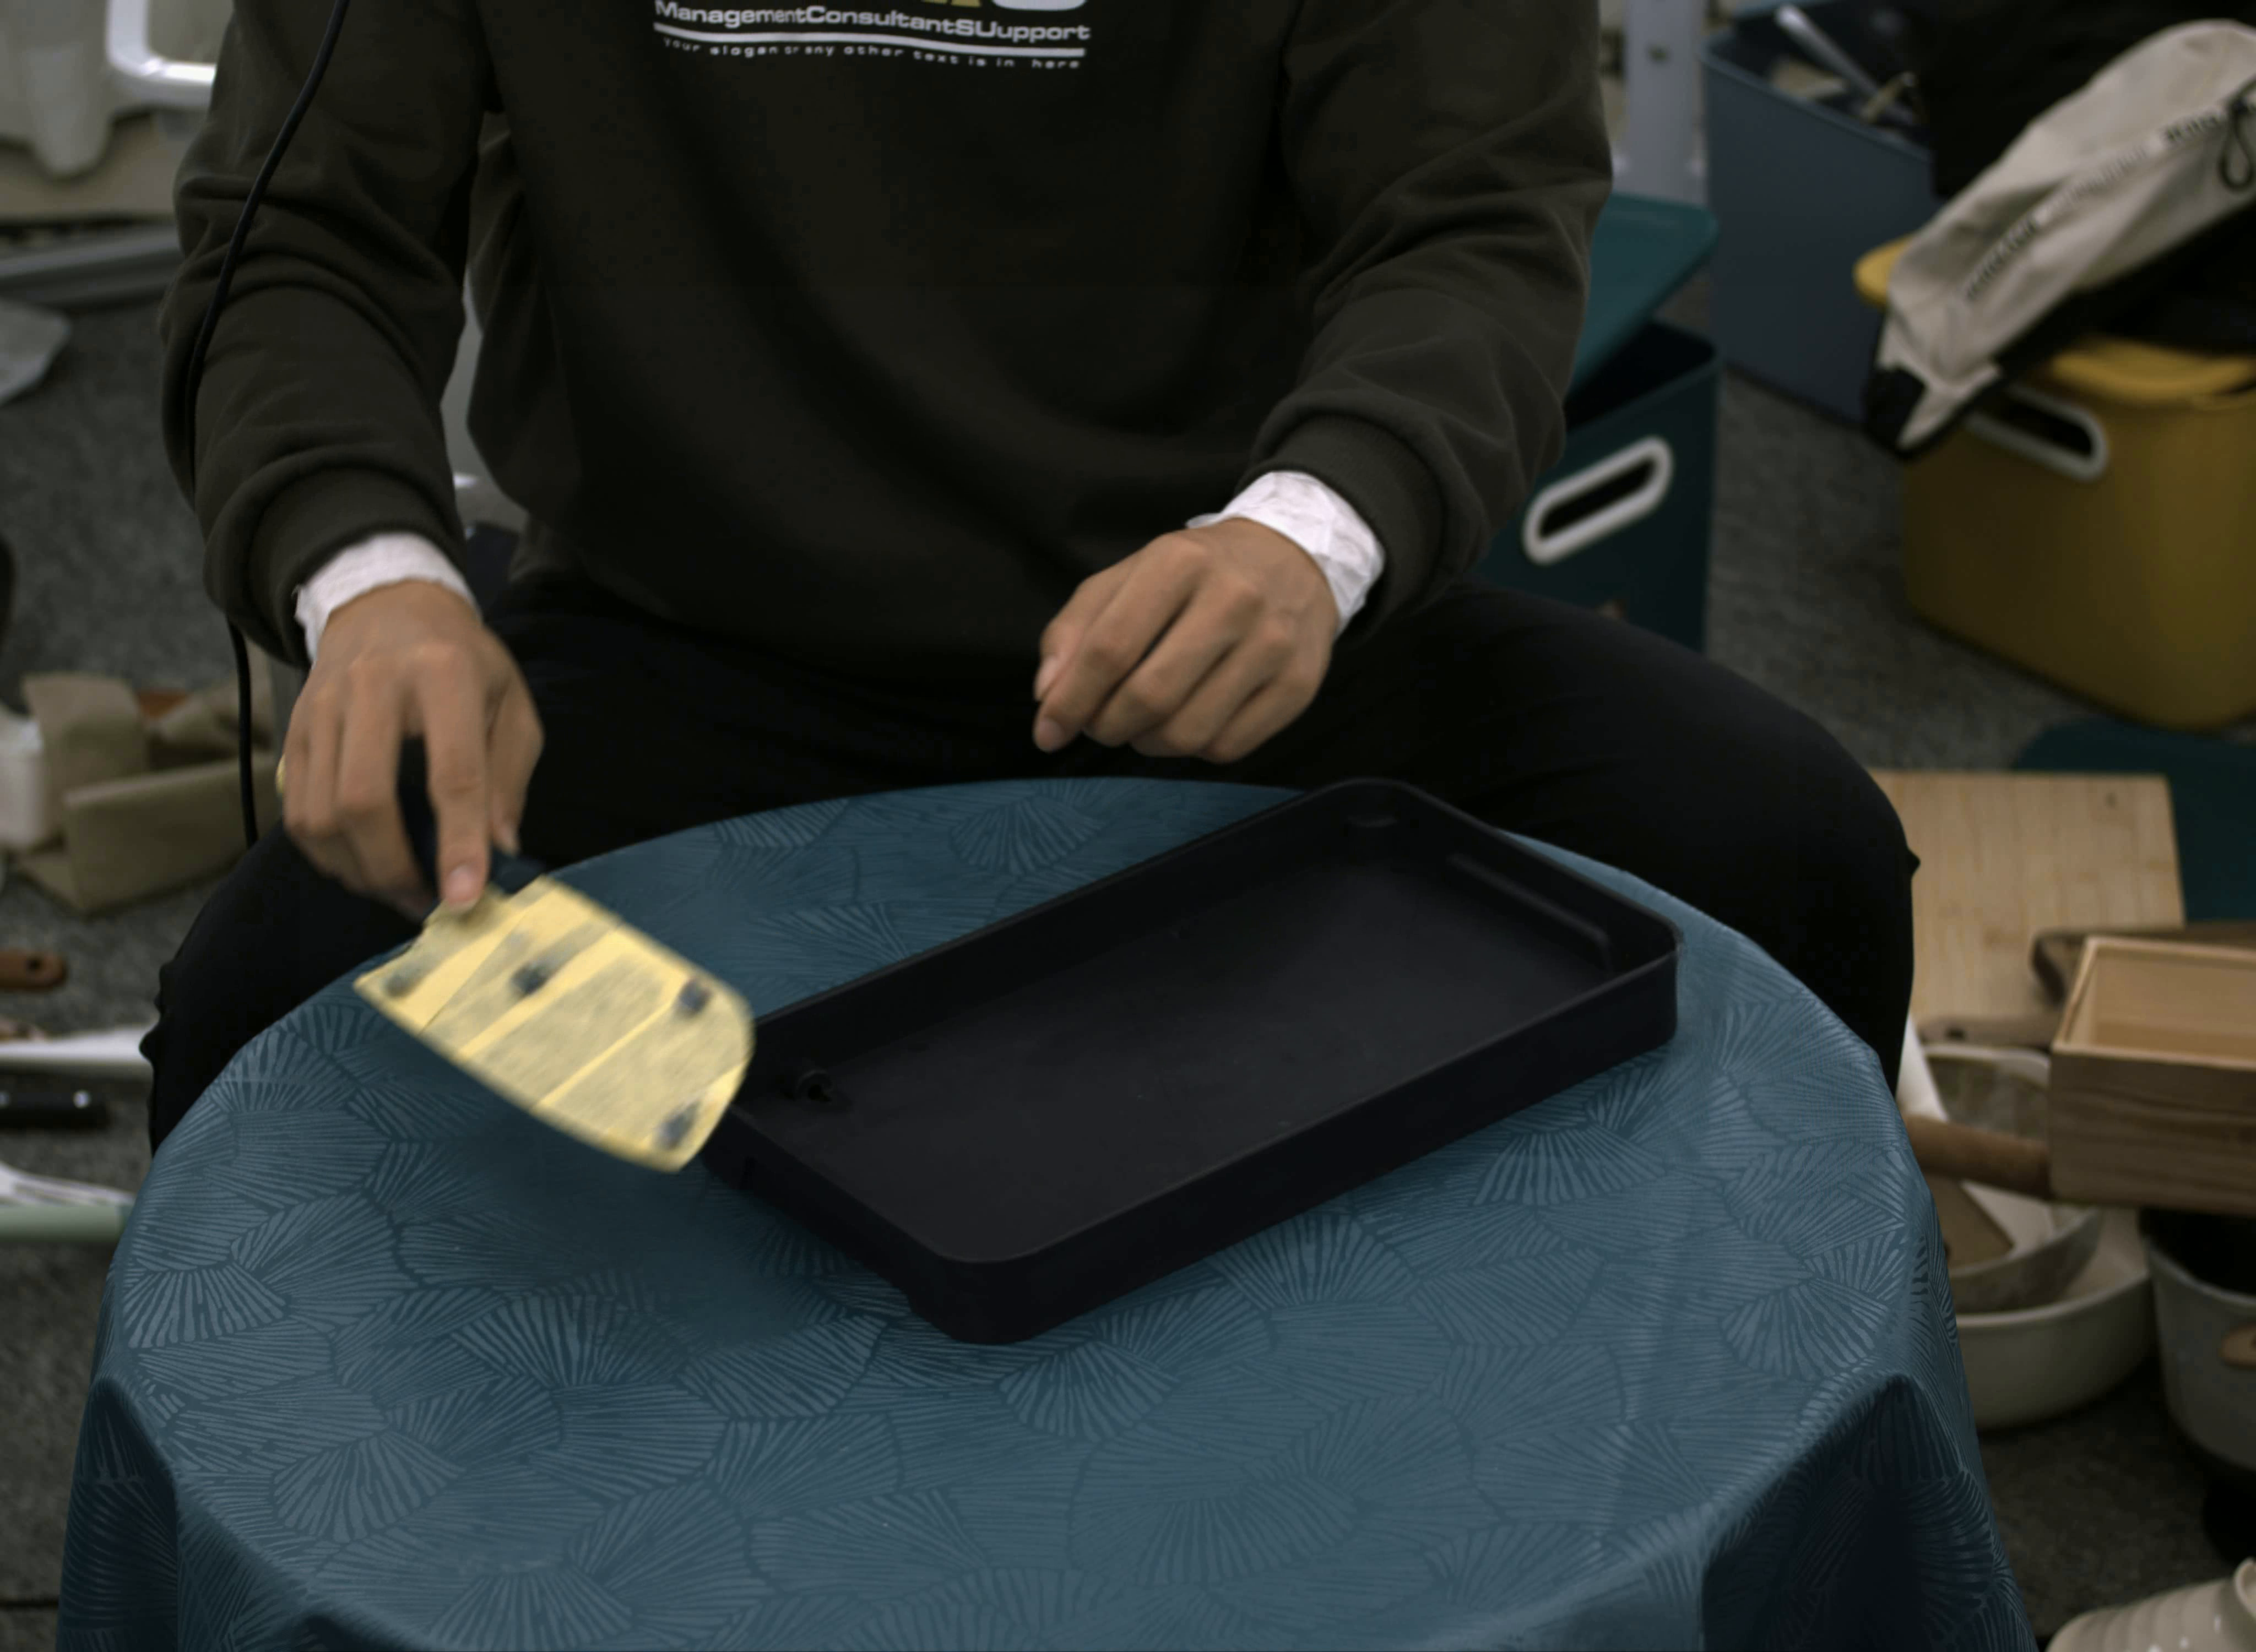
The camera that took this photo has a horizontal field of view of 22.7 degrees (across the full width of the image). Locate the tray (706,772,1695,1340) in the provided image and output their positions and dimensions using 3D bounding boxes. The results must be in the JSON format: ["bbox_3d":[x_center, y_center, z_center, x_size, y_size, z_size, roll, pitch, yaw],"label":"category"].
[{"bbox_3d":[0.026,0.072,1.916,0.321,0.036,0.184,-23,33,-34],"label":"tray"}]

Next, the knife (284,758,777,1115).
[{"bbox_3d":[-0.208,0.036,1.859,0.082,0.027,0.290,-34,38,-24],"label":"knife"}]
